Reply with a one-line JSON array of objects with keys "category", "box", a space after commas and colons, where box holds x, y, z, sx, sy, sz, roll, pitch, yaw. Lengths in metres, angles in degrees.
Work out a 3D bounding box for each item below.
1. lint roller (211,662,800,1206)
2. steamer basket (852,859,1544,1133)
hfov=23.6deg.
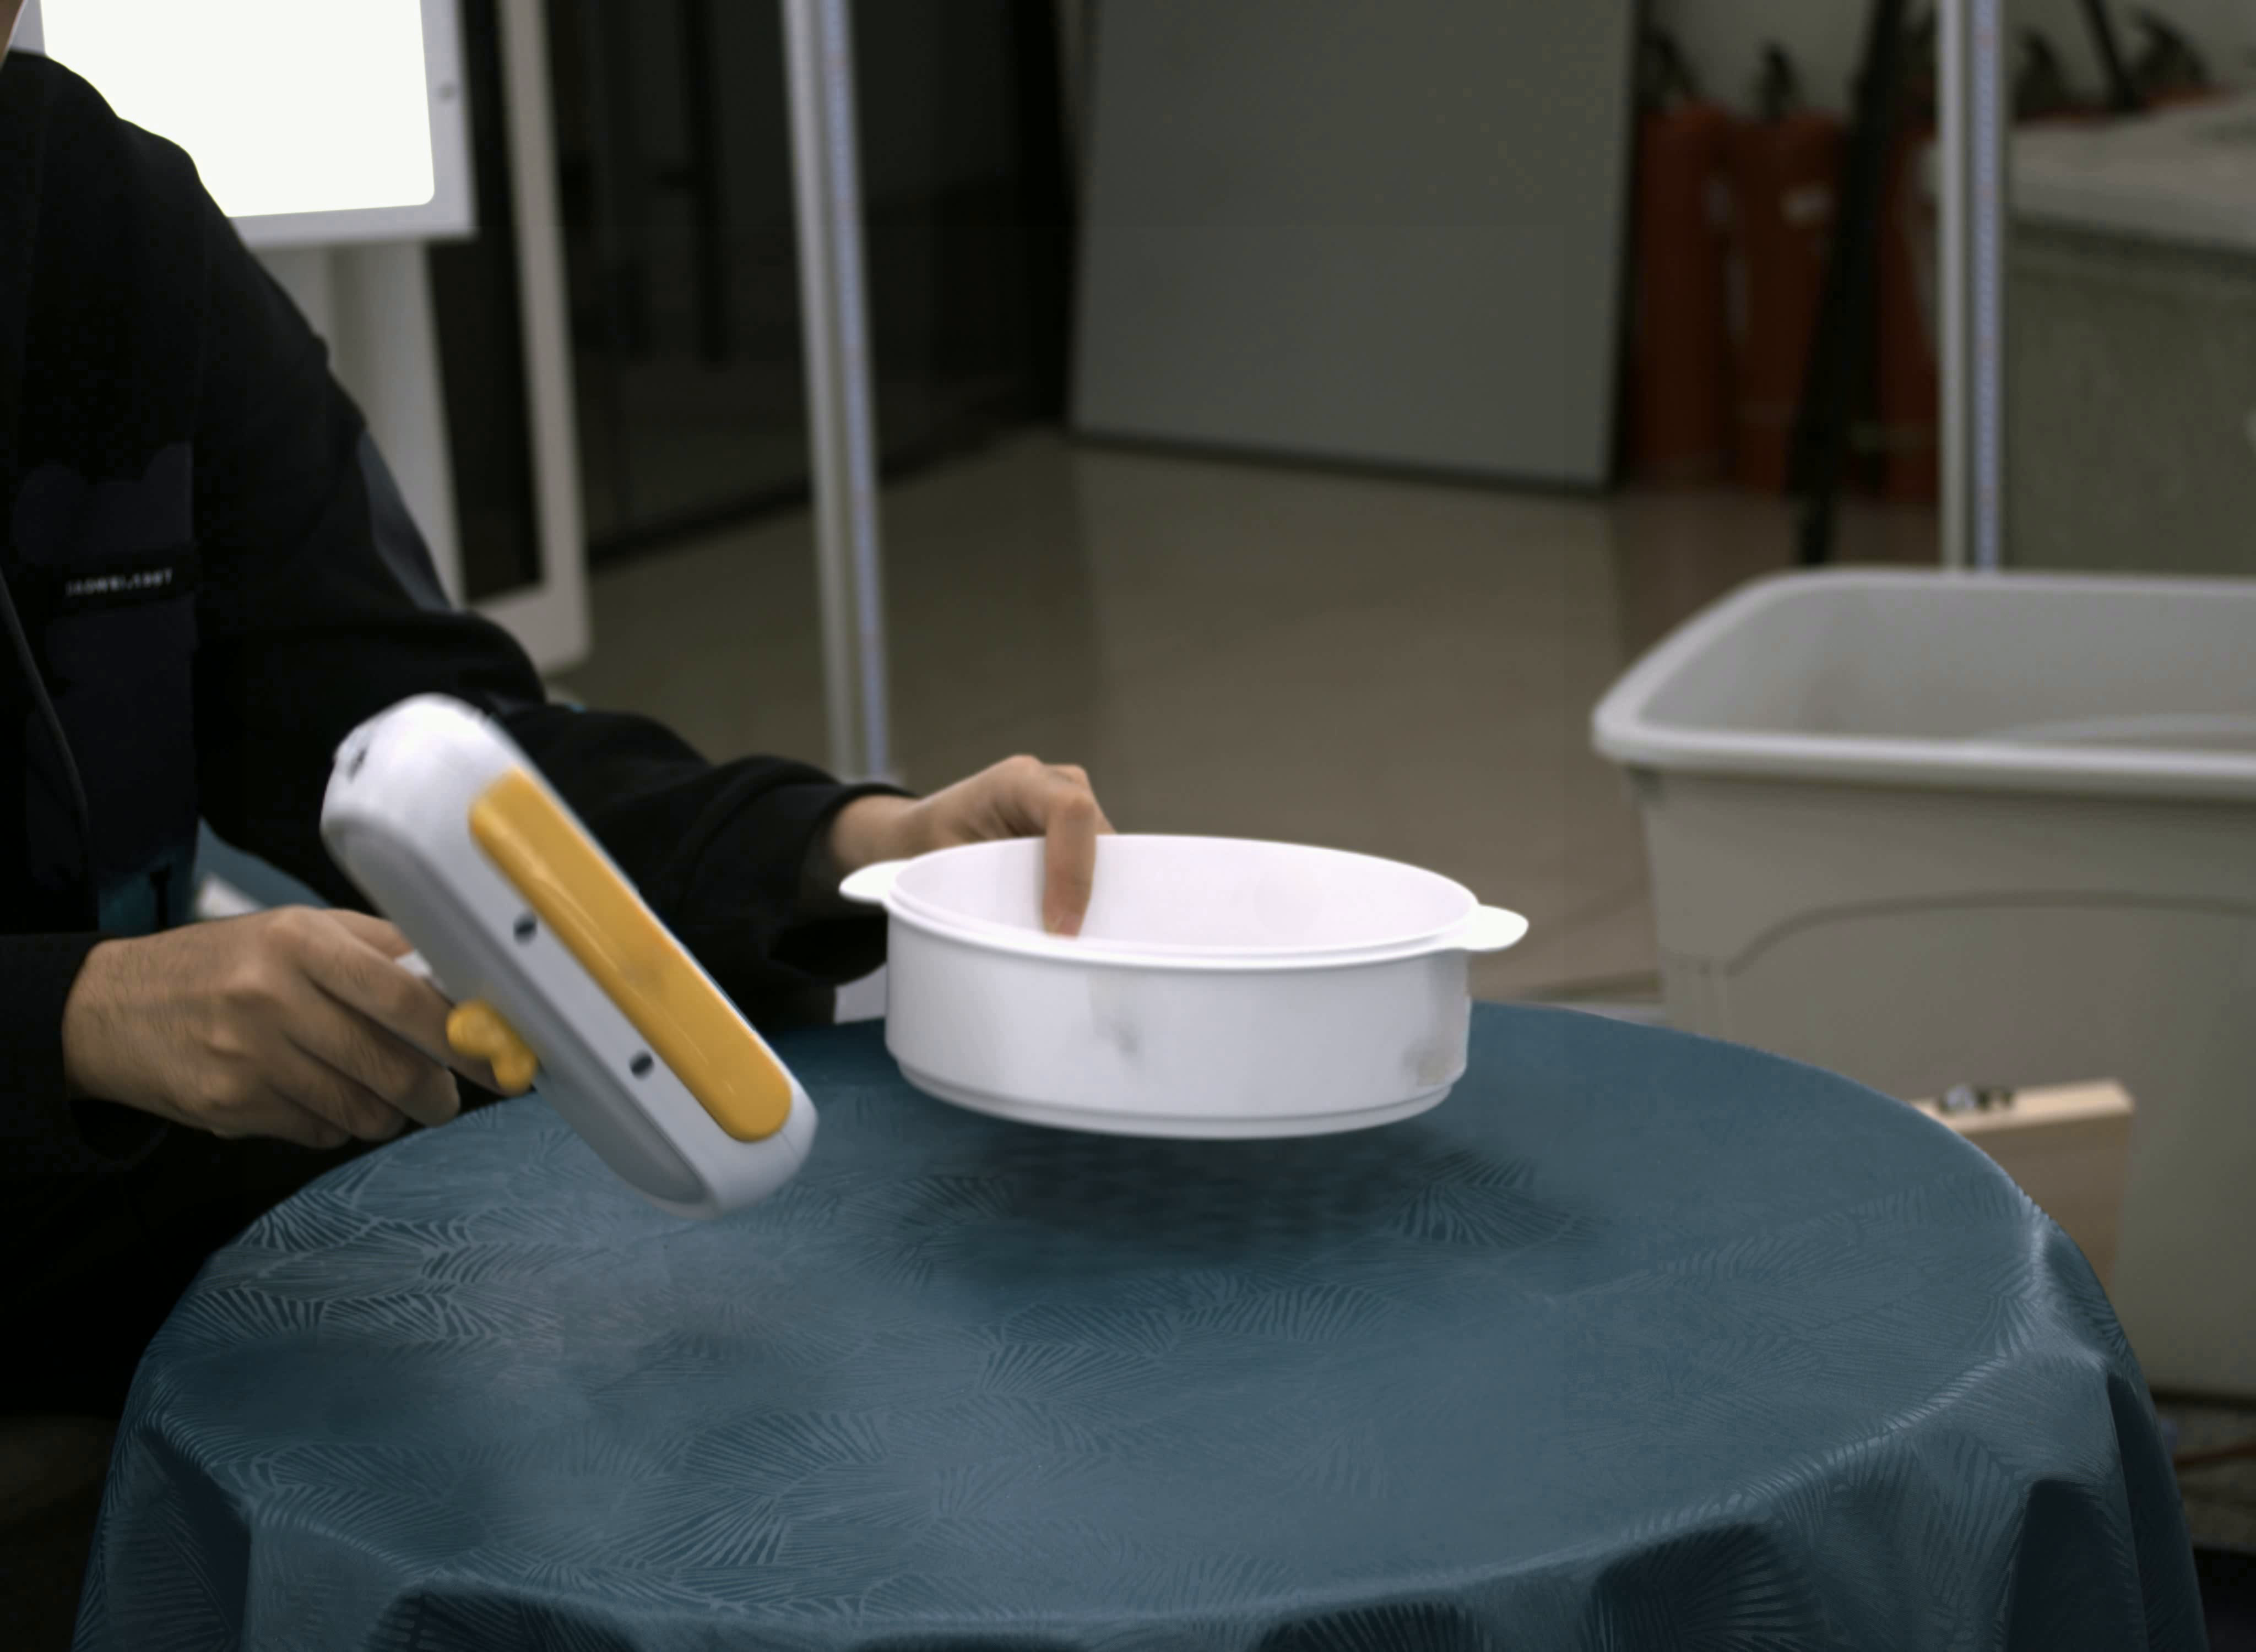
[{"category": "lint roller", "box": [-0.212, 0.051, 1.662, 0.194, 0.191, 0.074, -19, 30, 49]}, {"category": "steamer basket", "box": [0.022, 0.055, 1.770, 0.229, 0.070, 0.200, 2, 7, 14]}]
